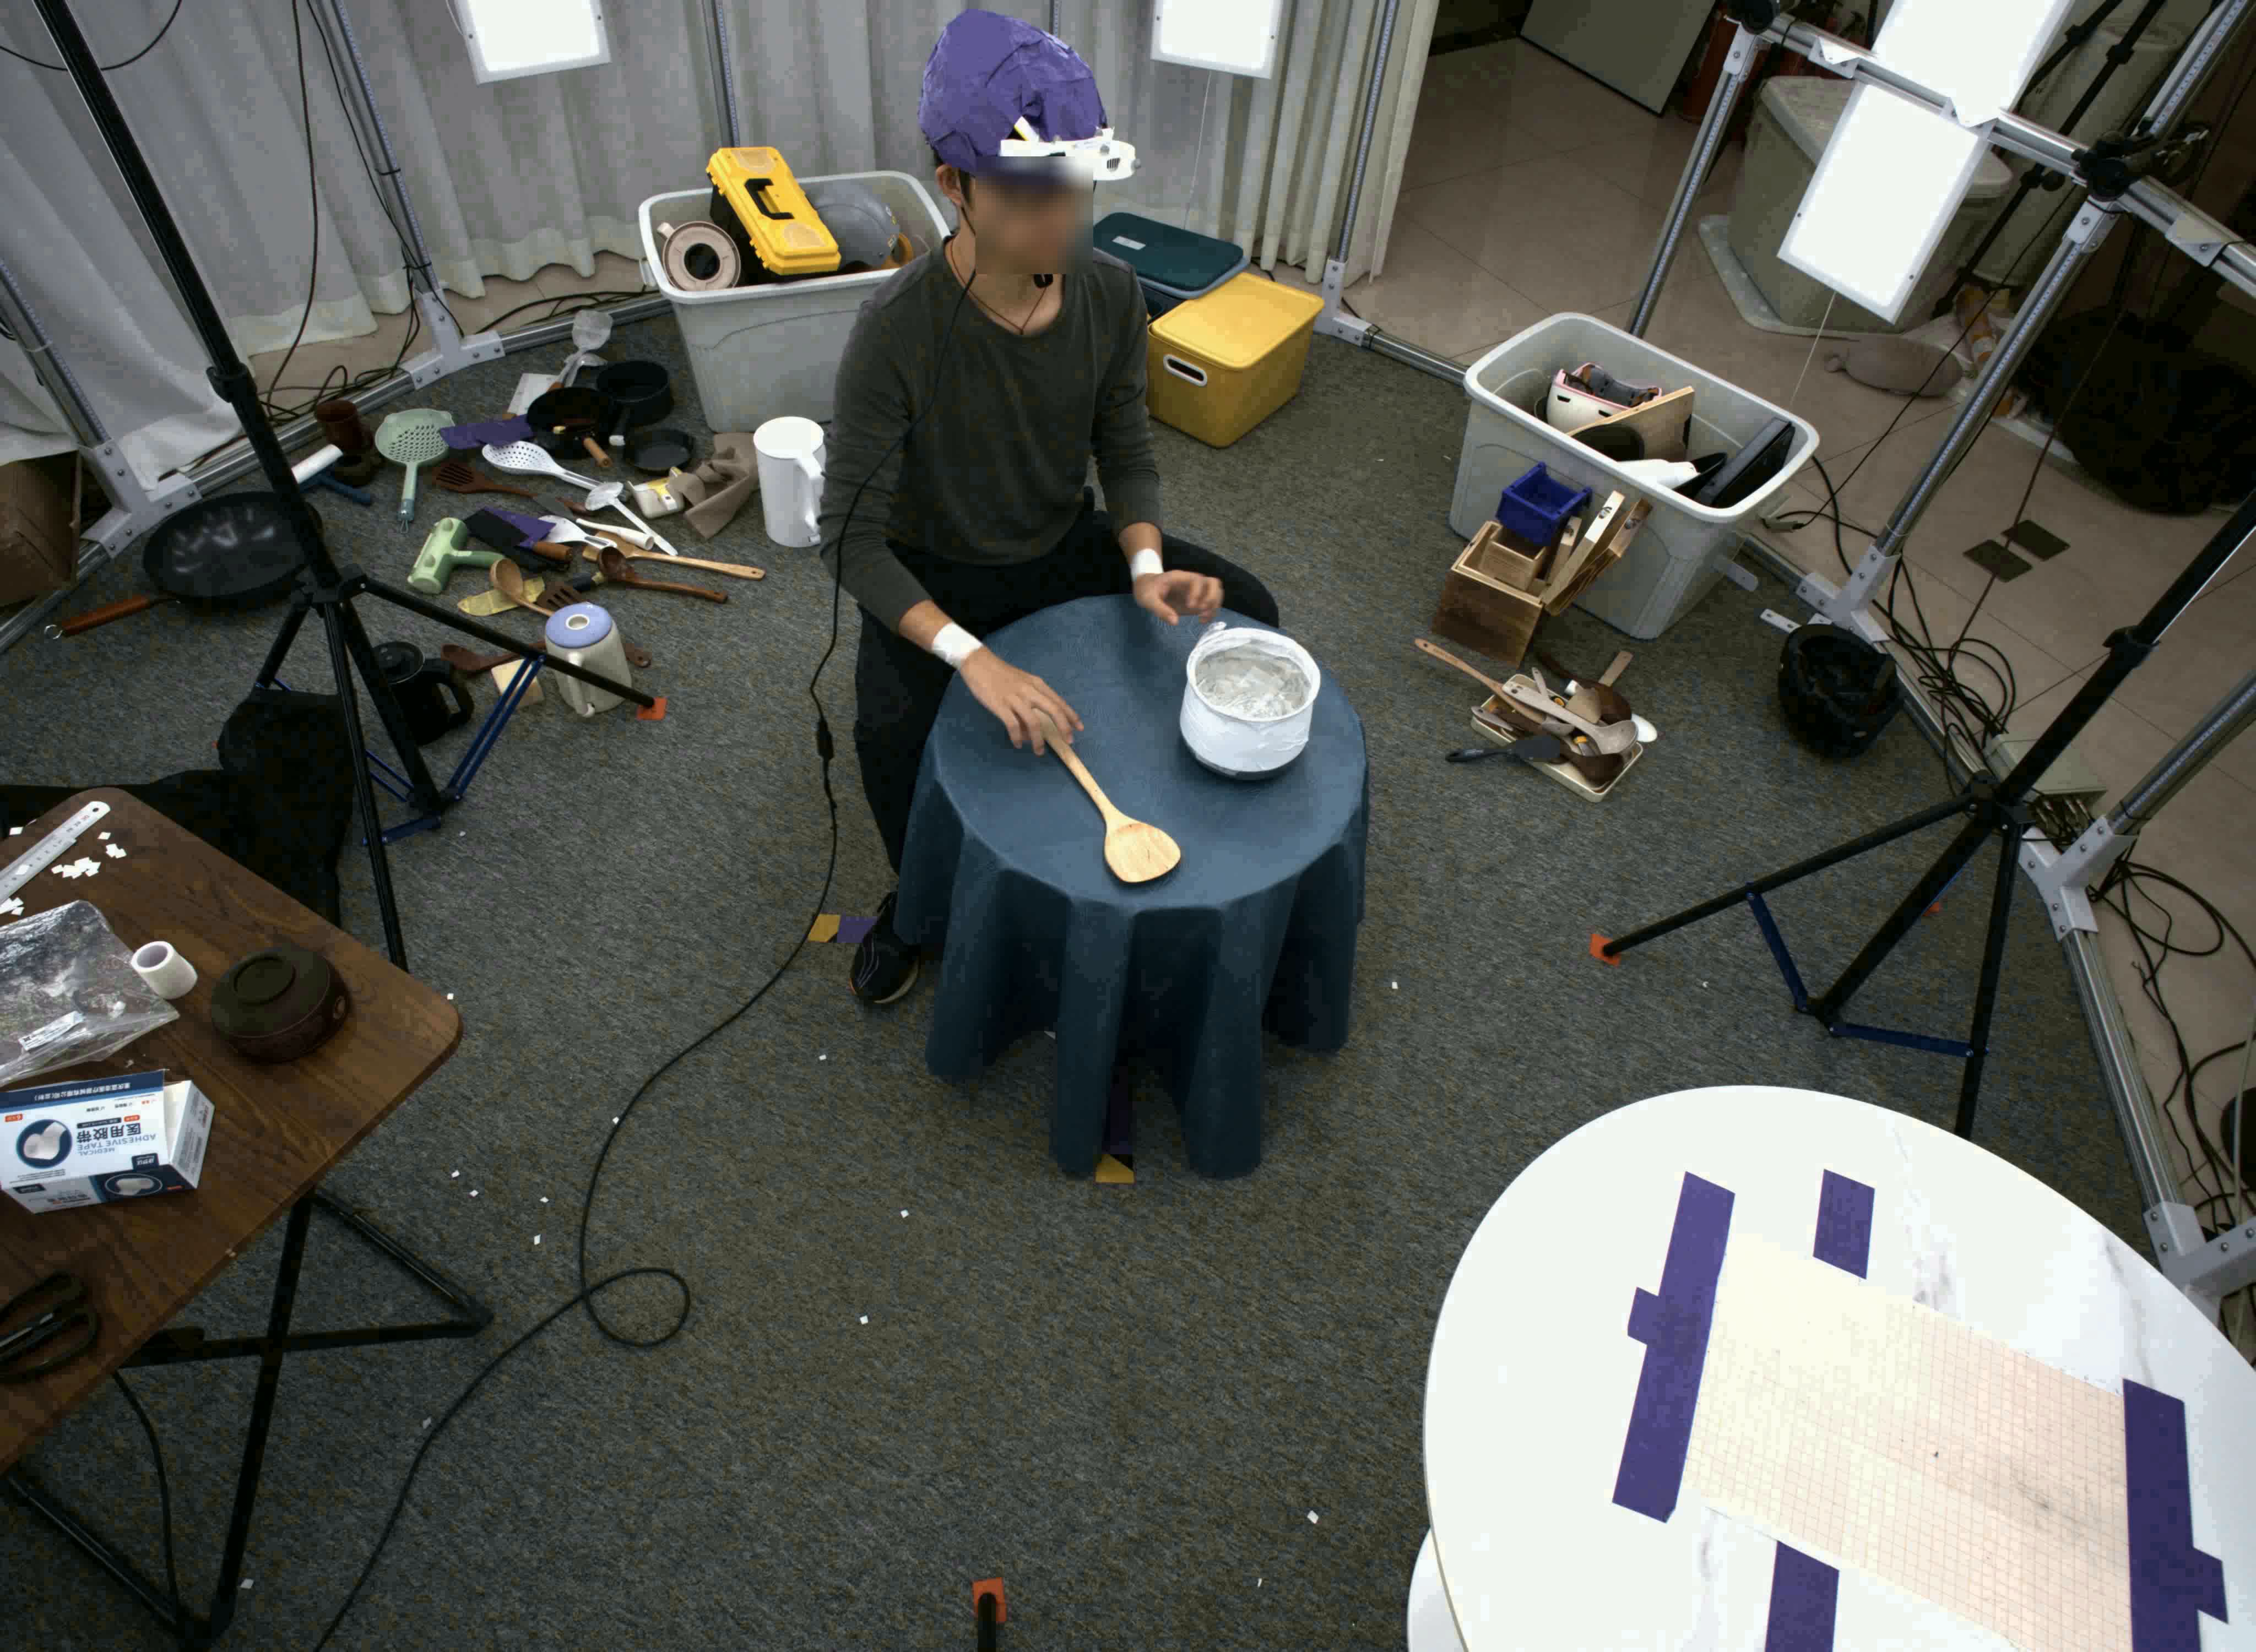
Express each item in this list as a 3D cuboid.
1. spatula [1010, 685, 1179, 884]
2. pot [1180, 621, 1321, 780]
[{"bbox_3d":[-0.065,-0.065,1.708,0.096,0.018,0.399,-21,54,-23],"label":"spatula"},{"bbox_3d":[0.150,-0.181,1.745,0.179,0.133,0.239,-17,52,-18],"label":"pot"}]
